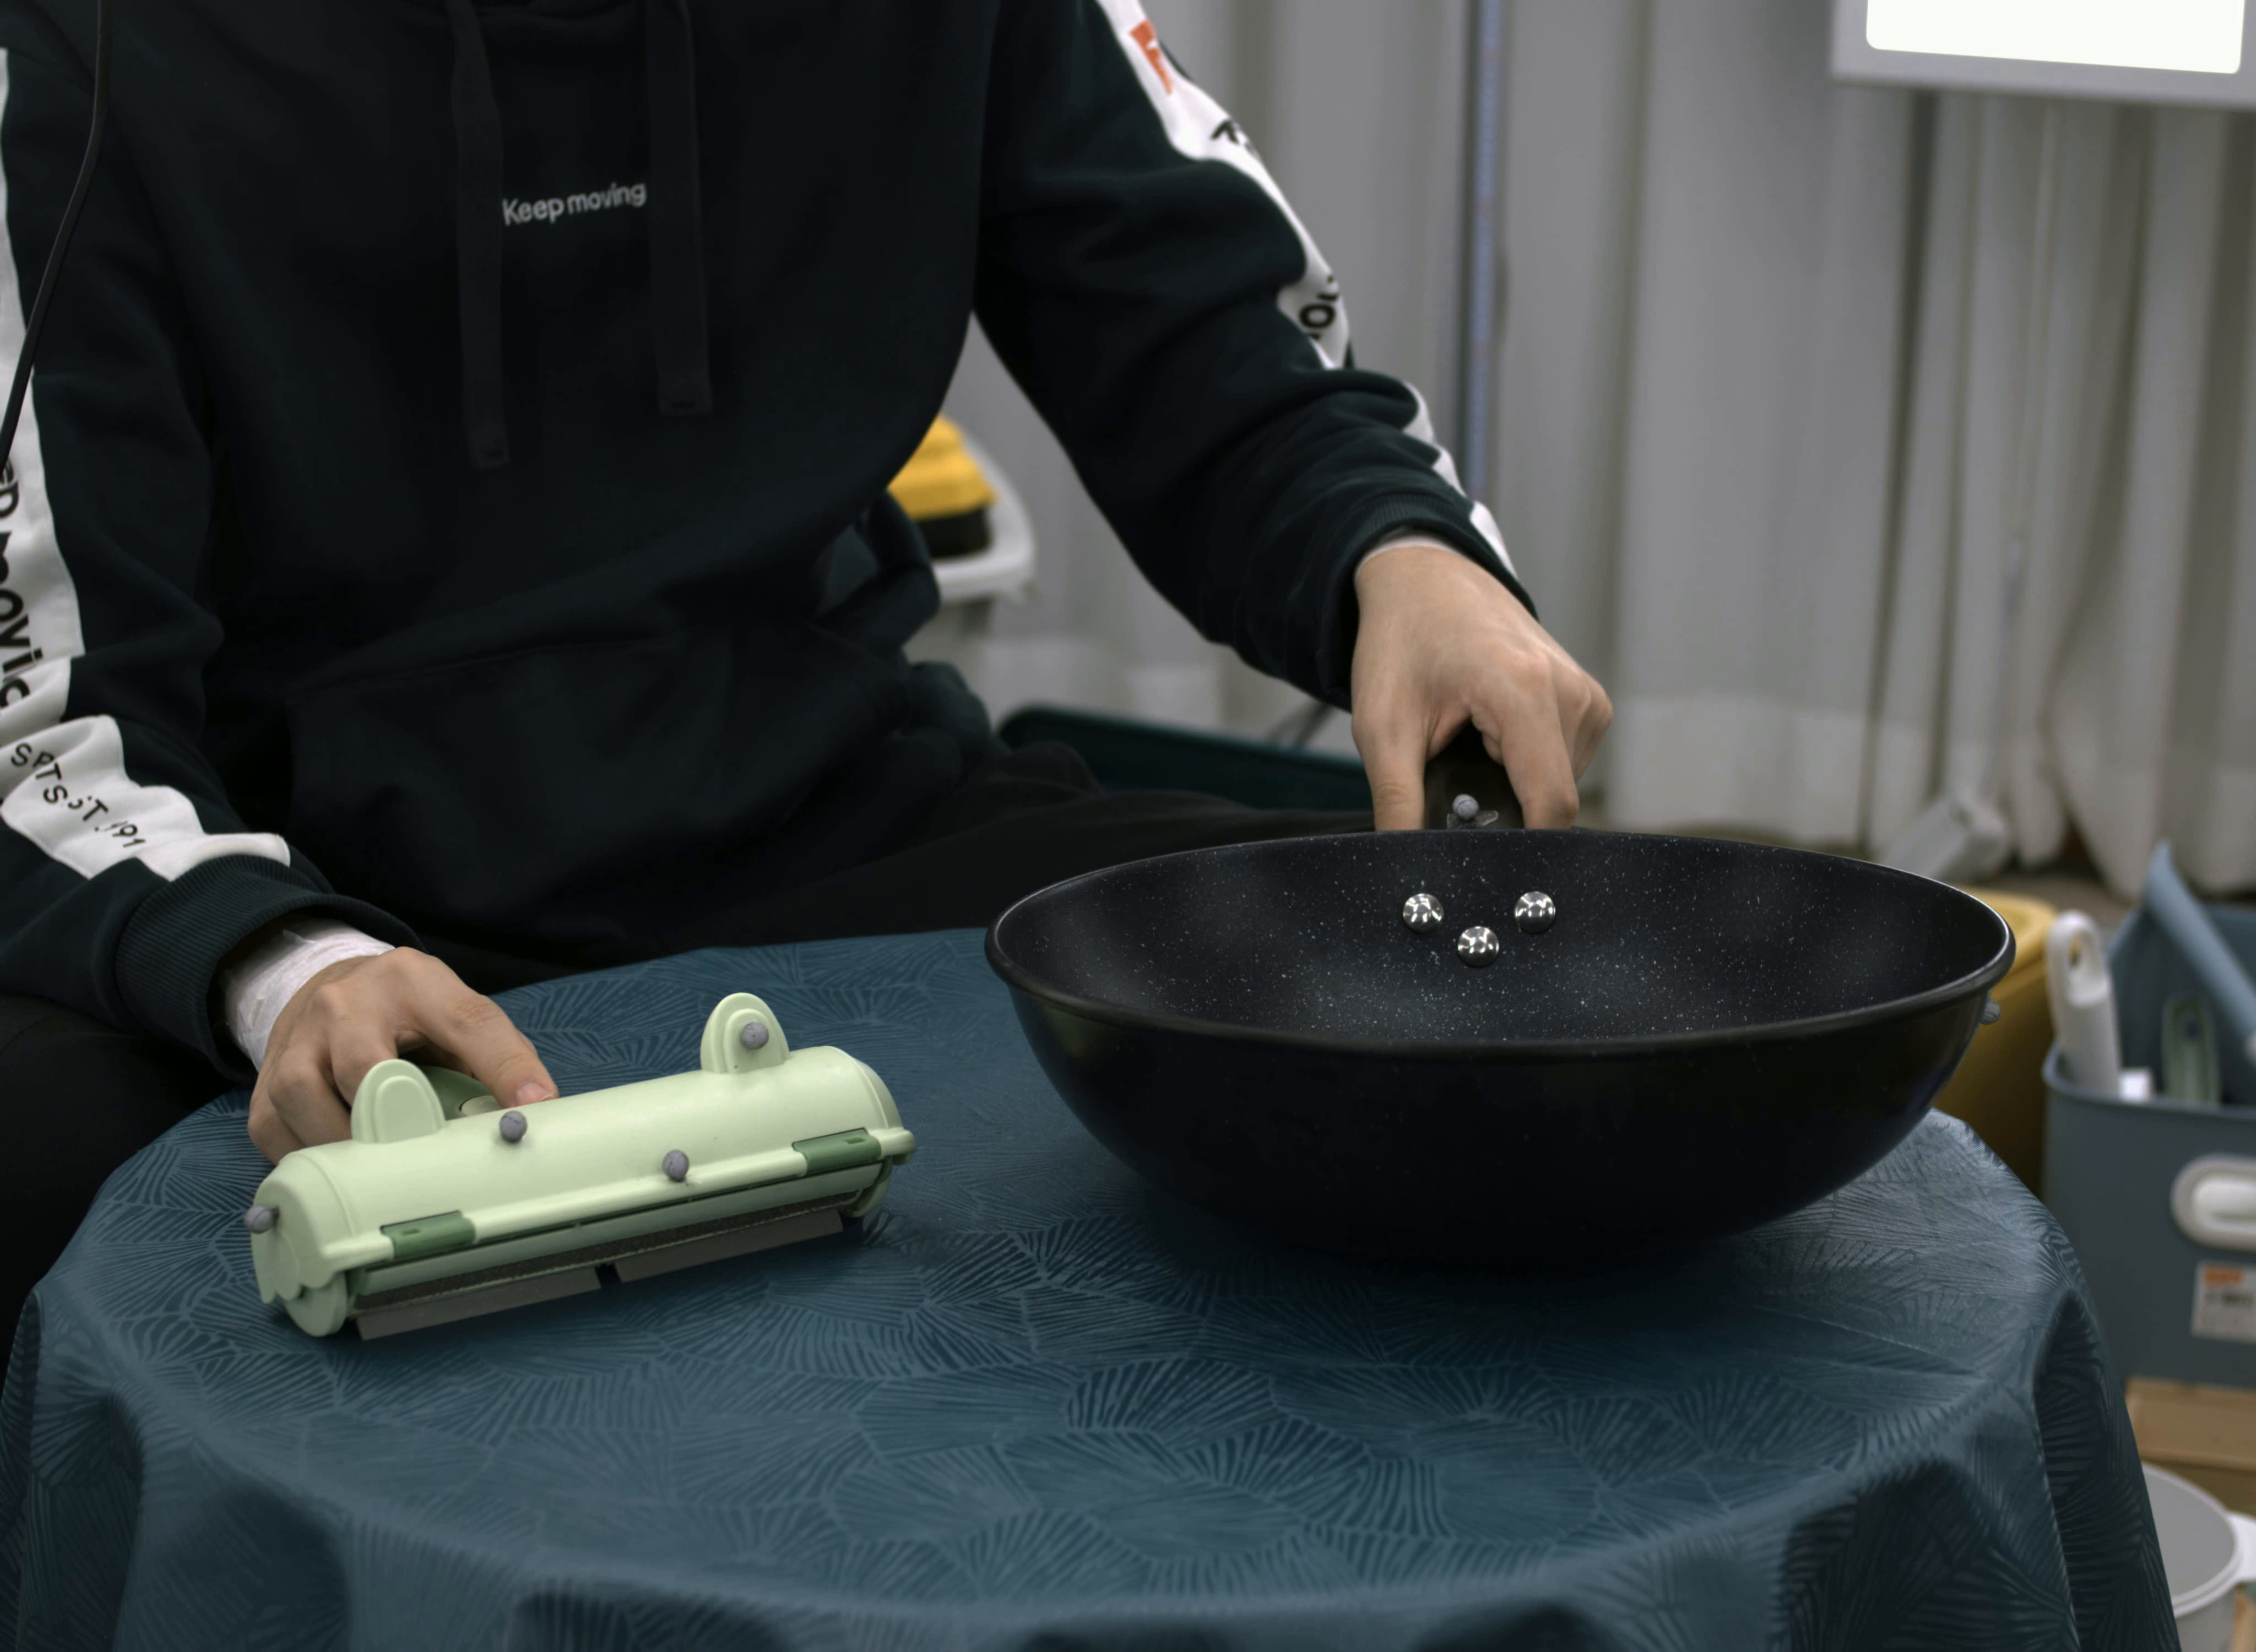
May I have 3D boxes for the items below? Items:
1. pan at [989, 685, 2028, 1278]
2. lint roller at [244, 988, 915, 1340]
[{"bbox_3d":[0.114,0.047,1.662,0.309,0.112,0.475,1,11,0],"label":"pan"},{"bbox_3d":[-0.190,0.083,1.580,0.199,0.083,0.181,-11,24,-33],"label":"lint roller"}]
